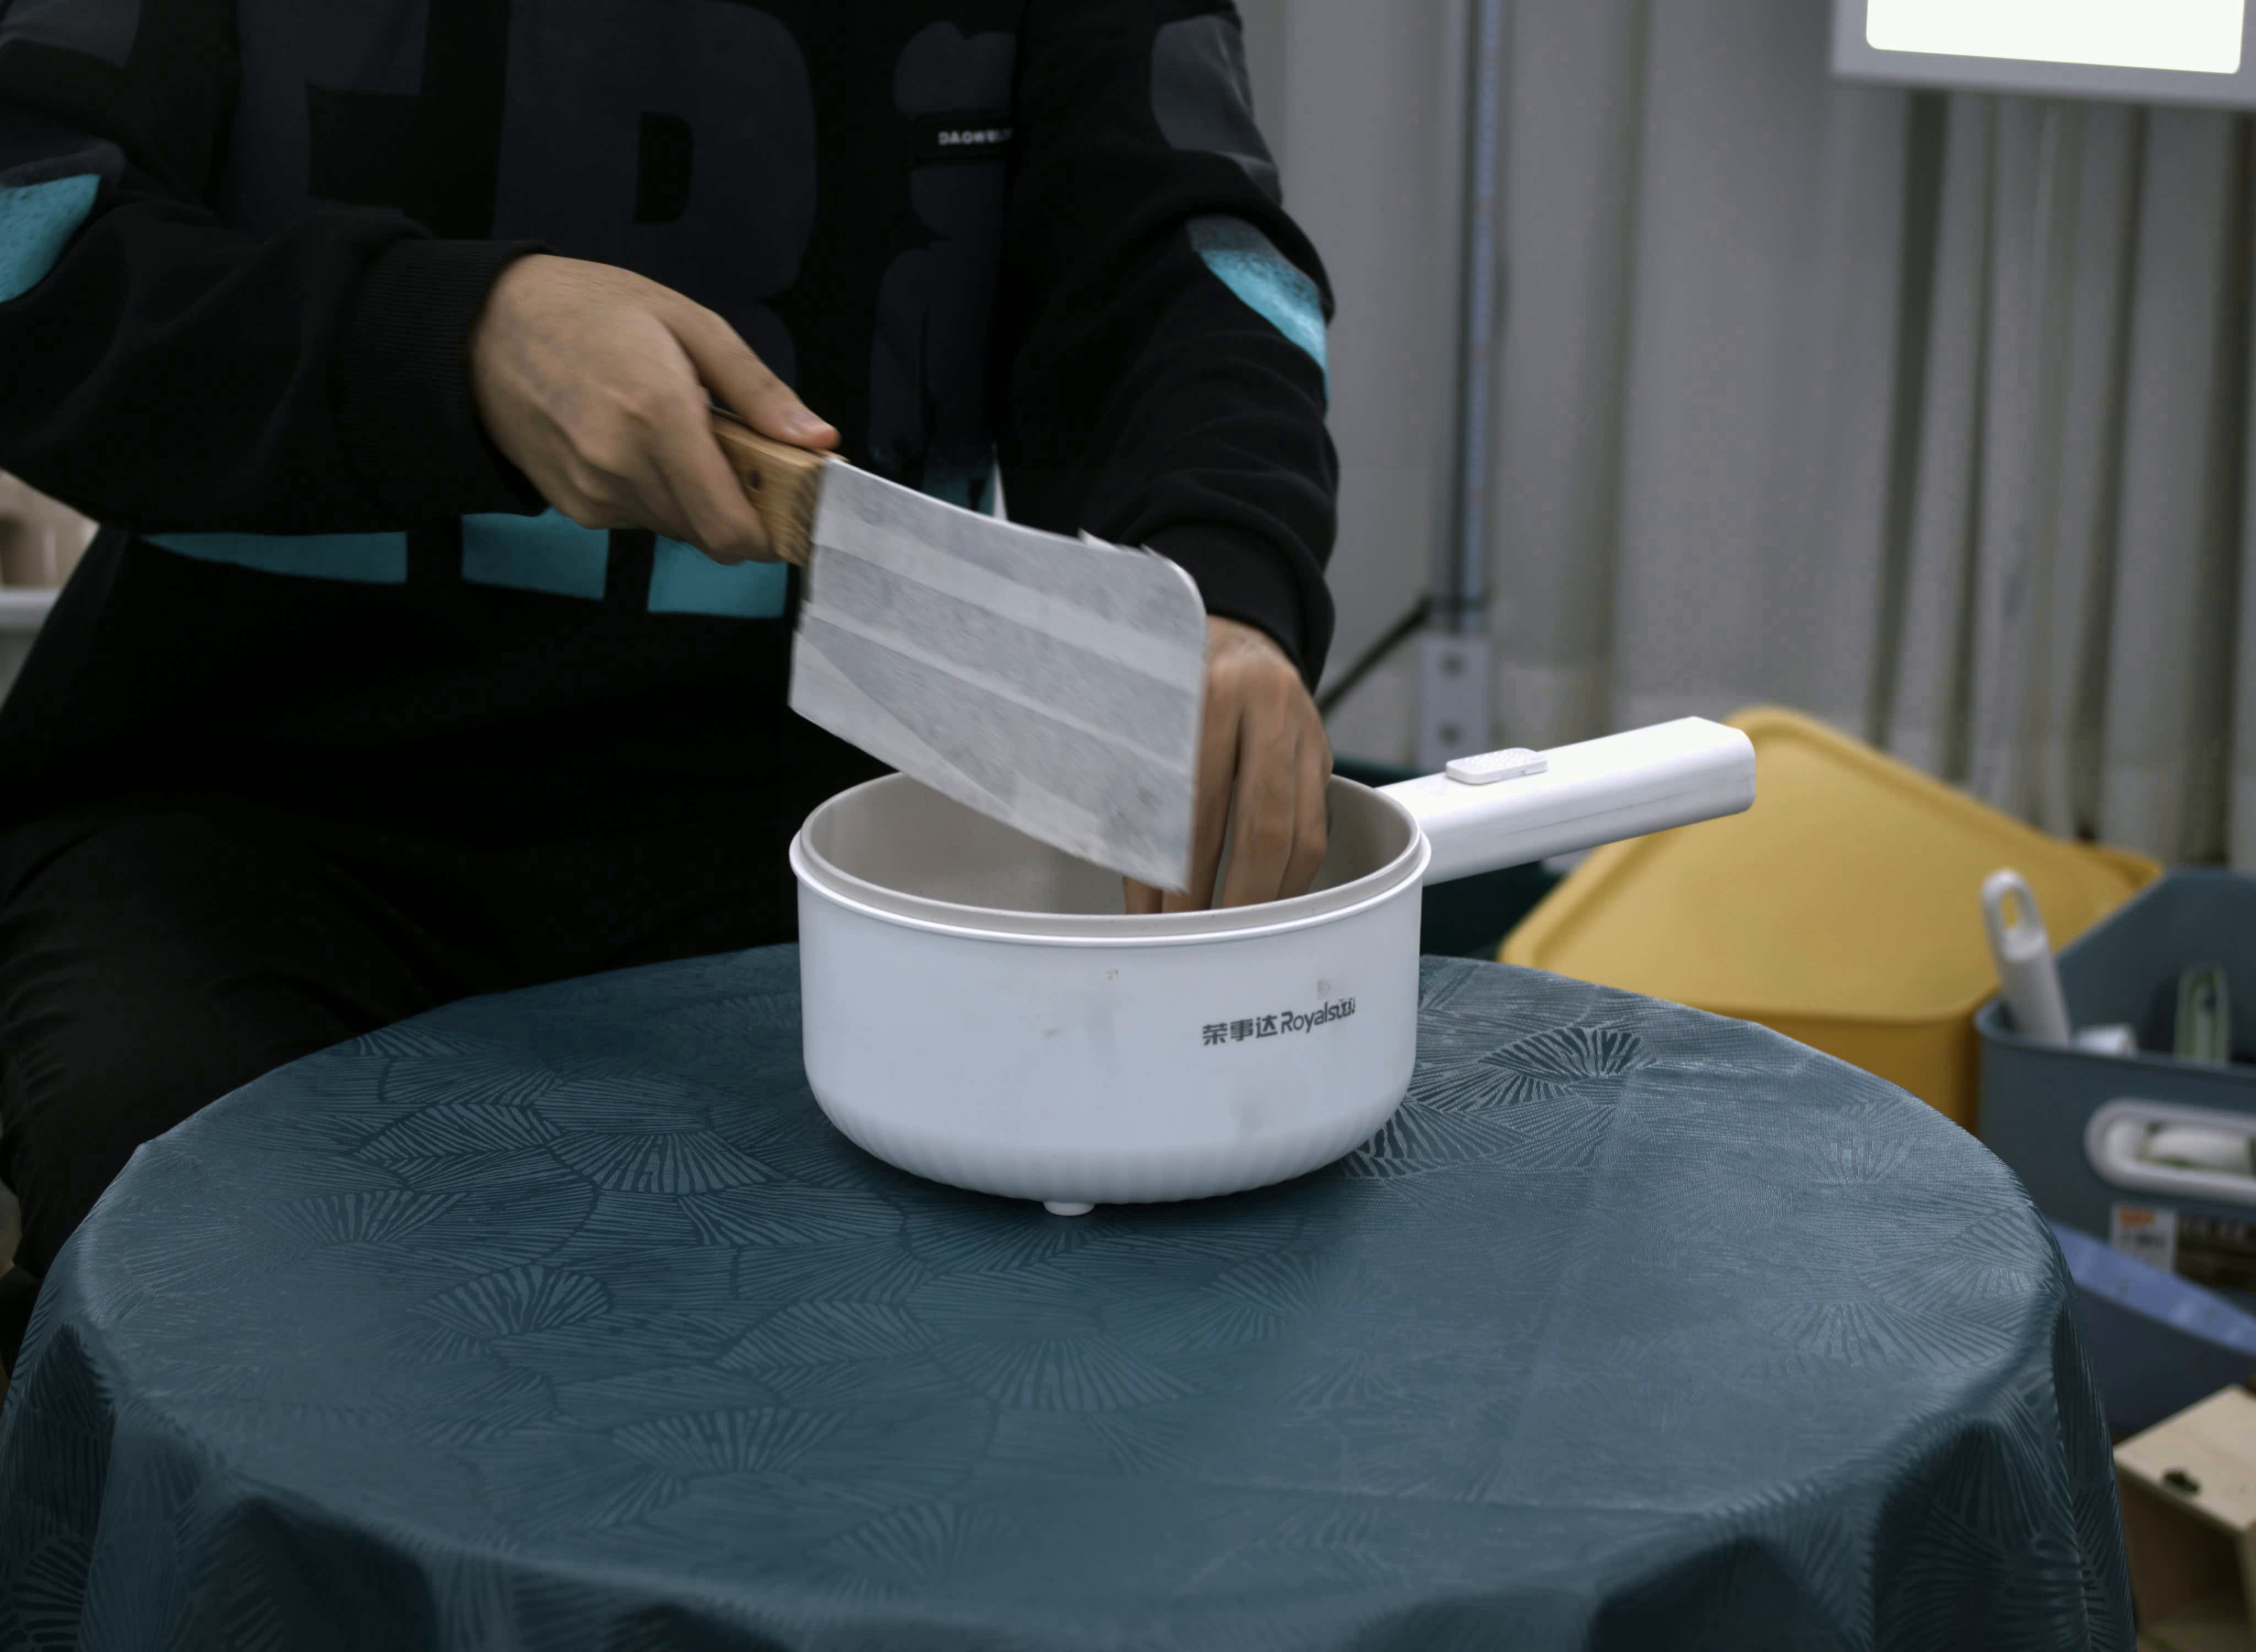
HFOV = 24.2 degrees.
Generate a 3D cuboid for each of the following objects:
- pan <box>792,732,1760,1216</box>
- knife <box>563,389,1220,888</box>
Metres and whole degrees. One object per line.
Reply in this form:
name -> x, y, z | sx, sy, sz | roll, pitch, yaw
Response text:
pan -> 0.058, 0.040, 1.704 | 0.356, 0.103, 0.198 | -10, 17, -35
knife -> -0.076, -0.075, 1.652 | 0.022, 0.115, 0.311 | -10, 30, -44
